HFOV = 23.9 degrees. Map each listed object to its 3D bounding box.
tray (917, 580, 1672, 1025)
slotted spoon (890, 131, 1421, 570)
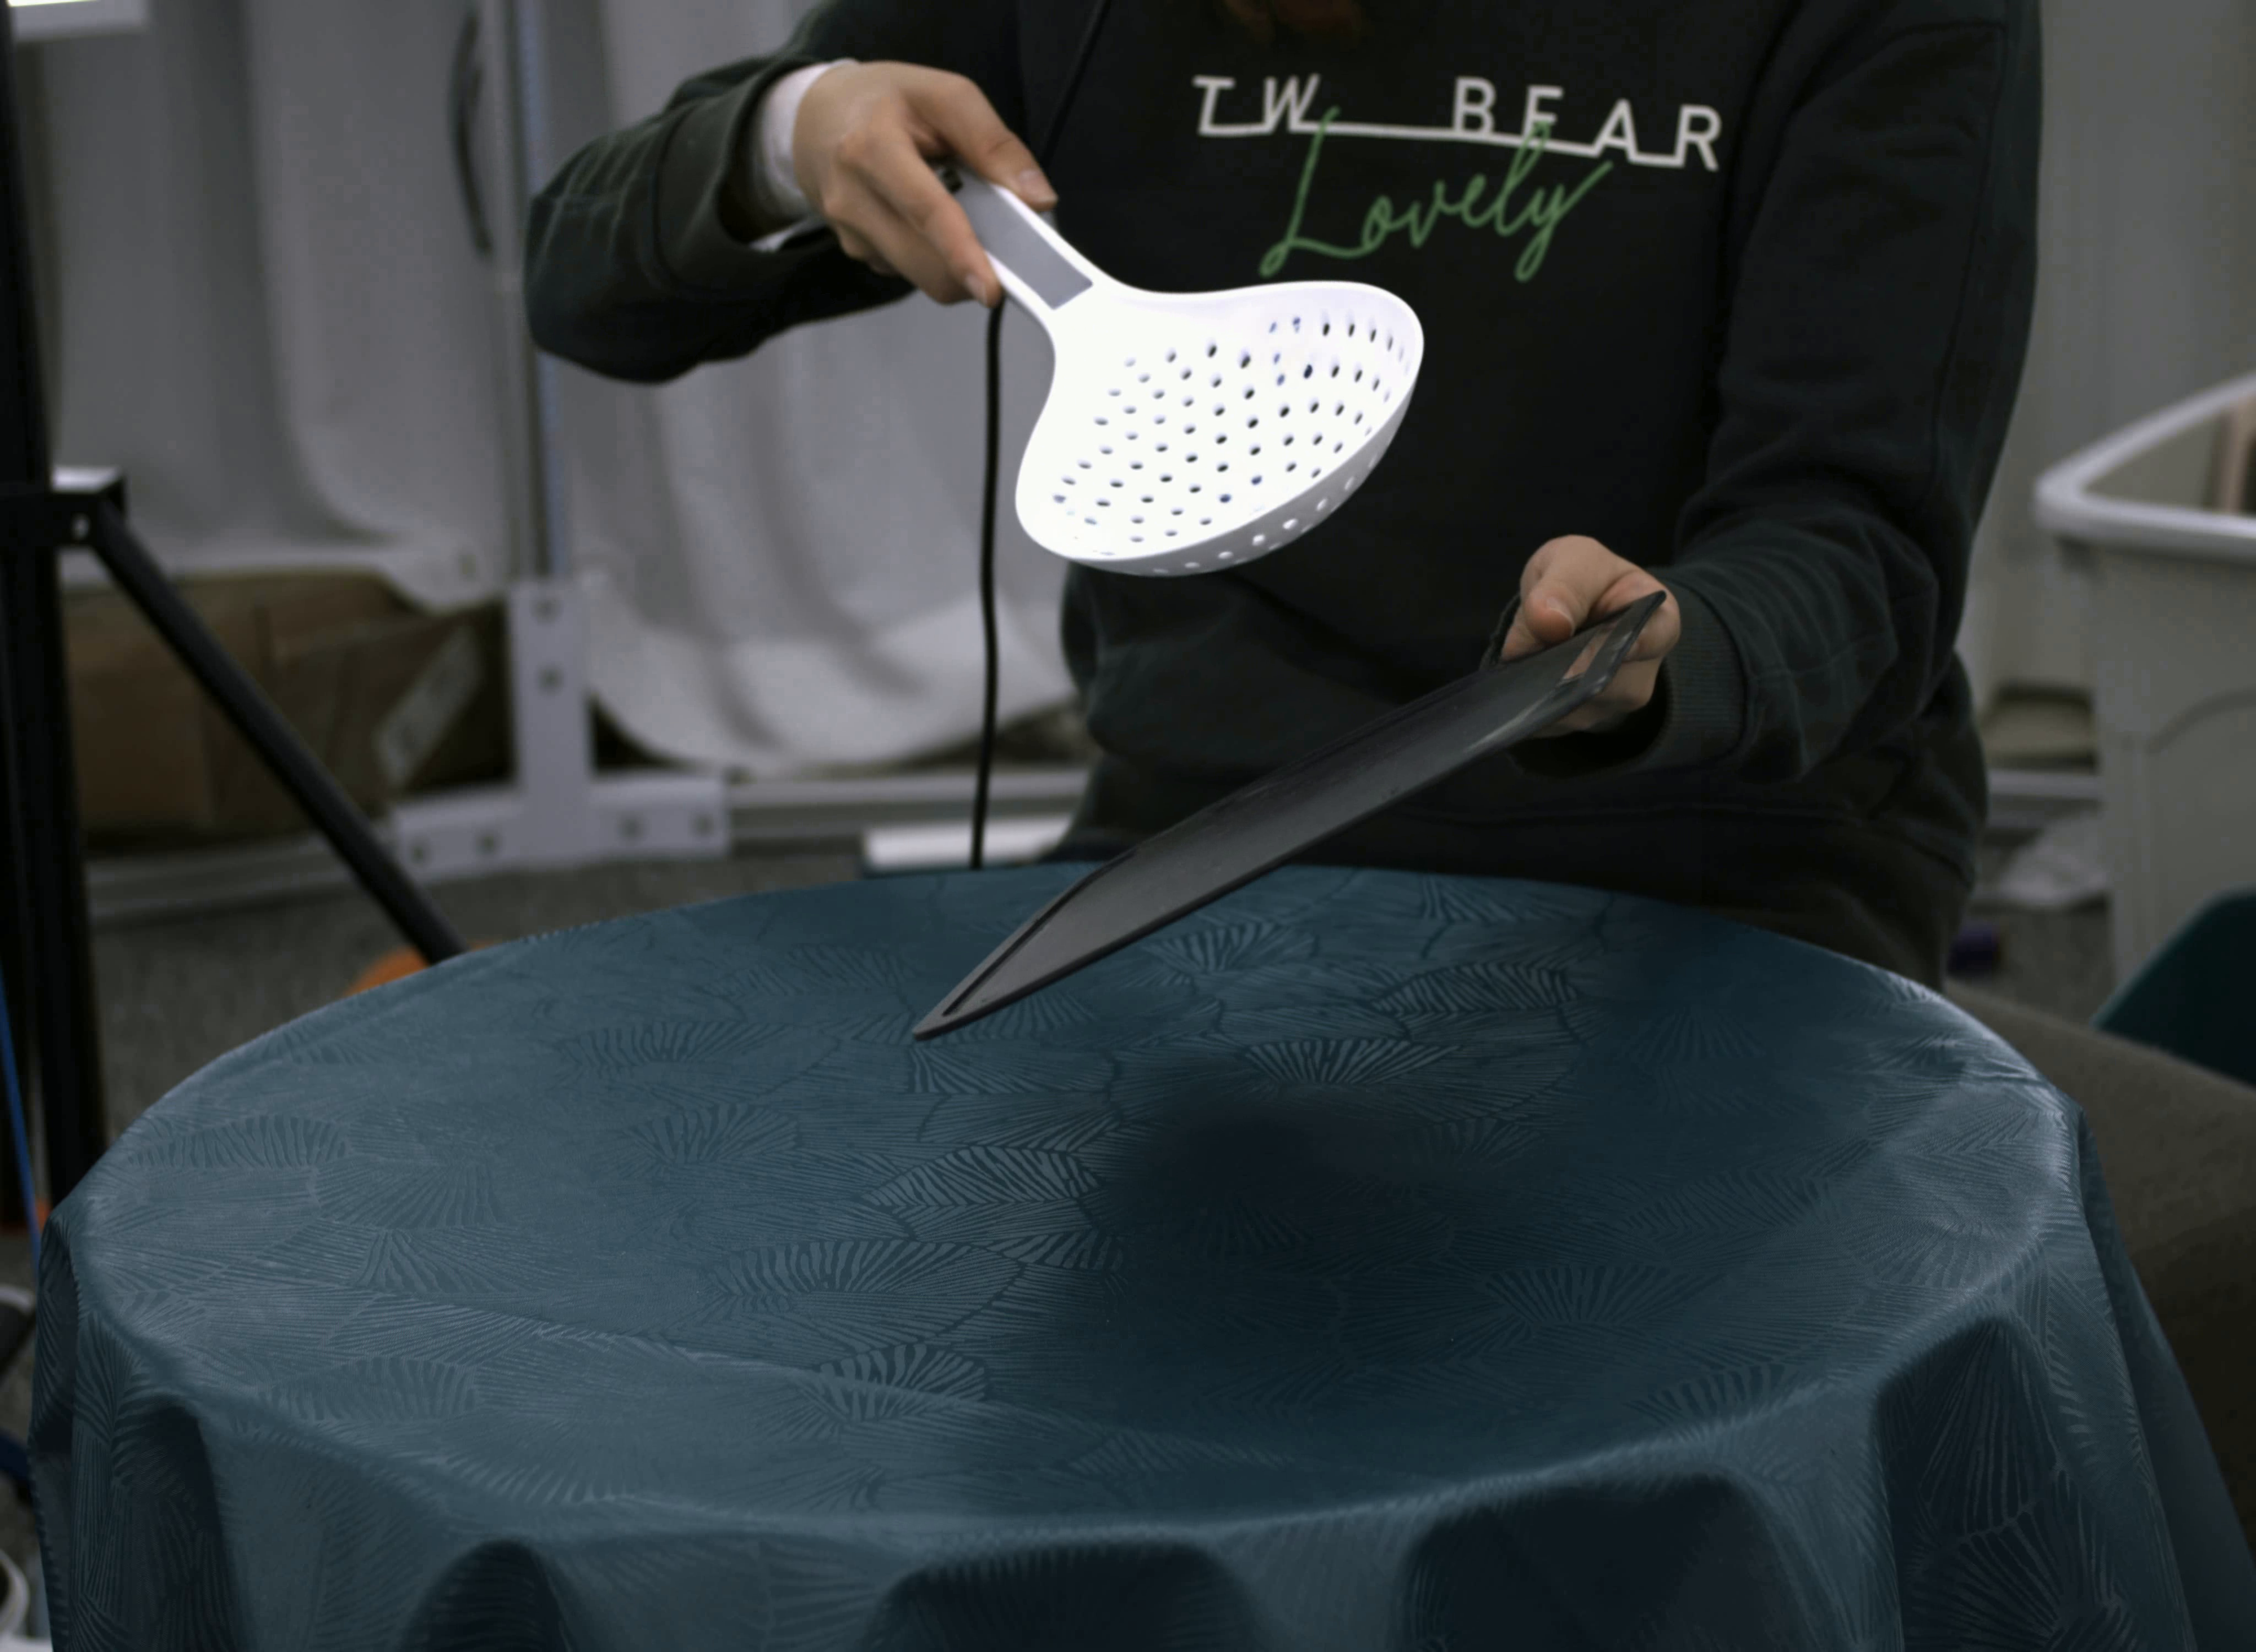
[{"bbox_3d":[0.054,-0.011,1.502,0.212,0.010,0.323,-27,3,13],"label":"tray"},{"bbox_3d":[-0.010,-0.164,1.729,0.135,0.045,0.357,-32,36,-6],"label":"slotted spoon"}]
